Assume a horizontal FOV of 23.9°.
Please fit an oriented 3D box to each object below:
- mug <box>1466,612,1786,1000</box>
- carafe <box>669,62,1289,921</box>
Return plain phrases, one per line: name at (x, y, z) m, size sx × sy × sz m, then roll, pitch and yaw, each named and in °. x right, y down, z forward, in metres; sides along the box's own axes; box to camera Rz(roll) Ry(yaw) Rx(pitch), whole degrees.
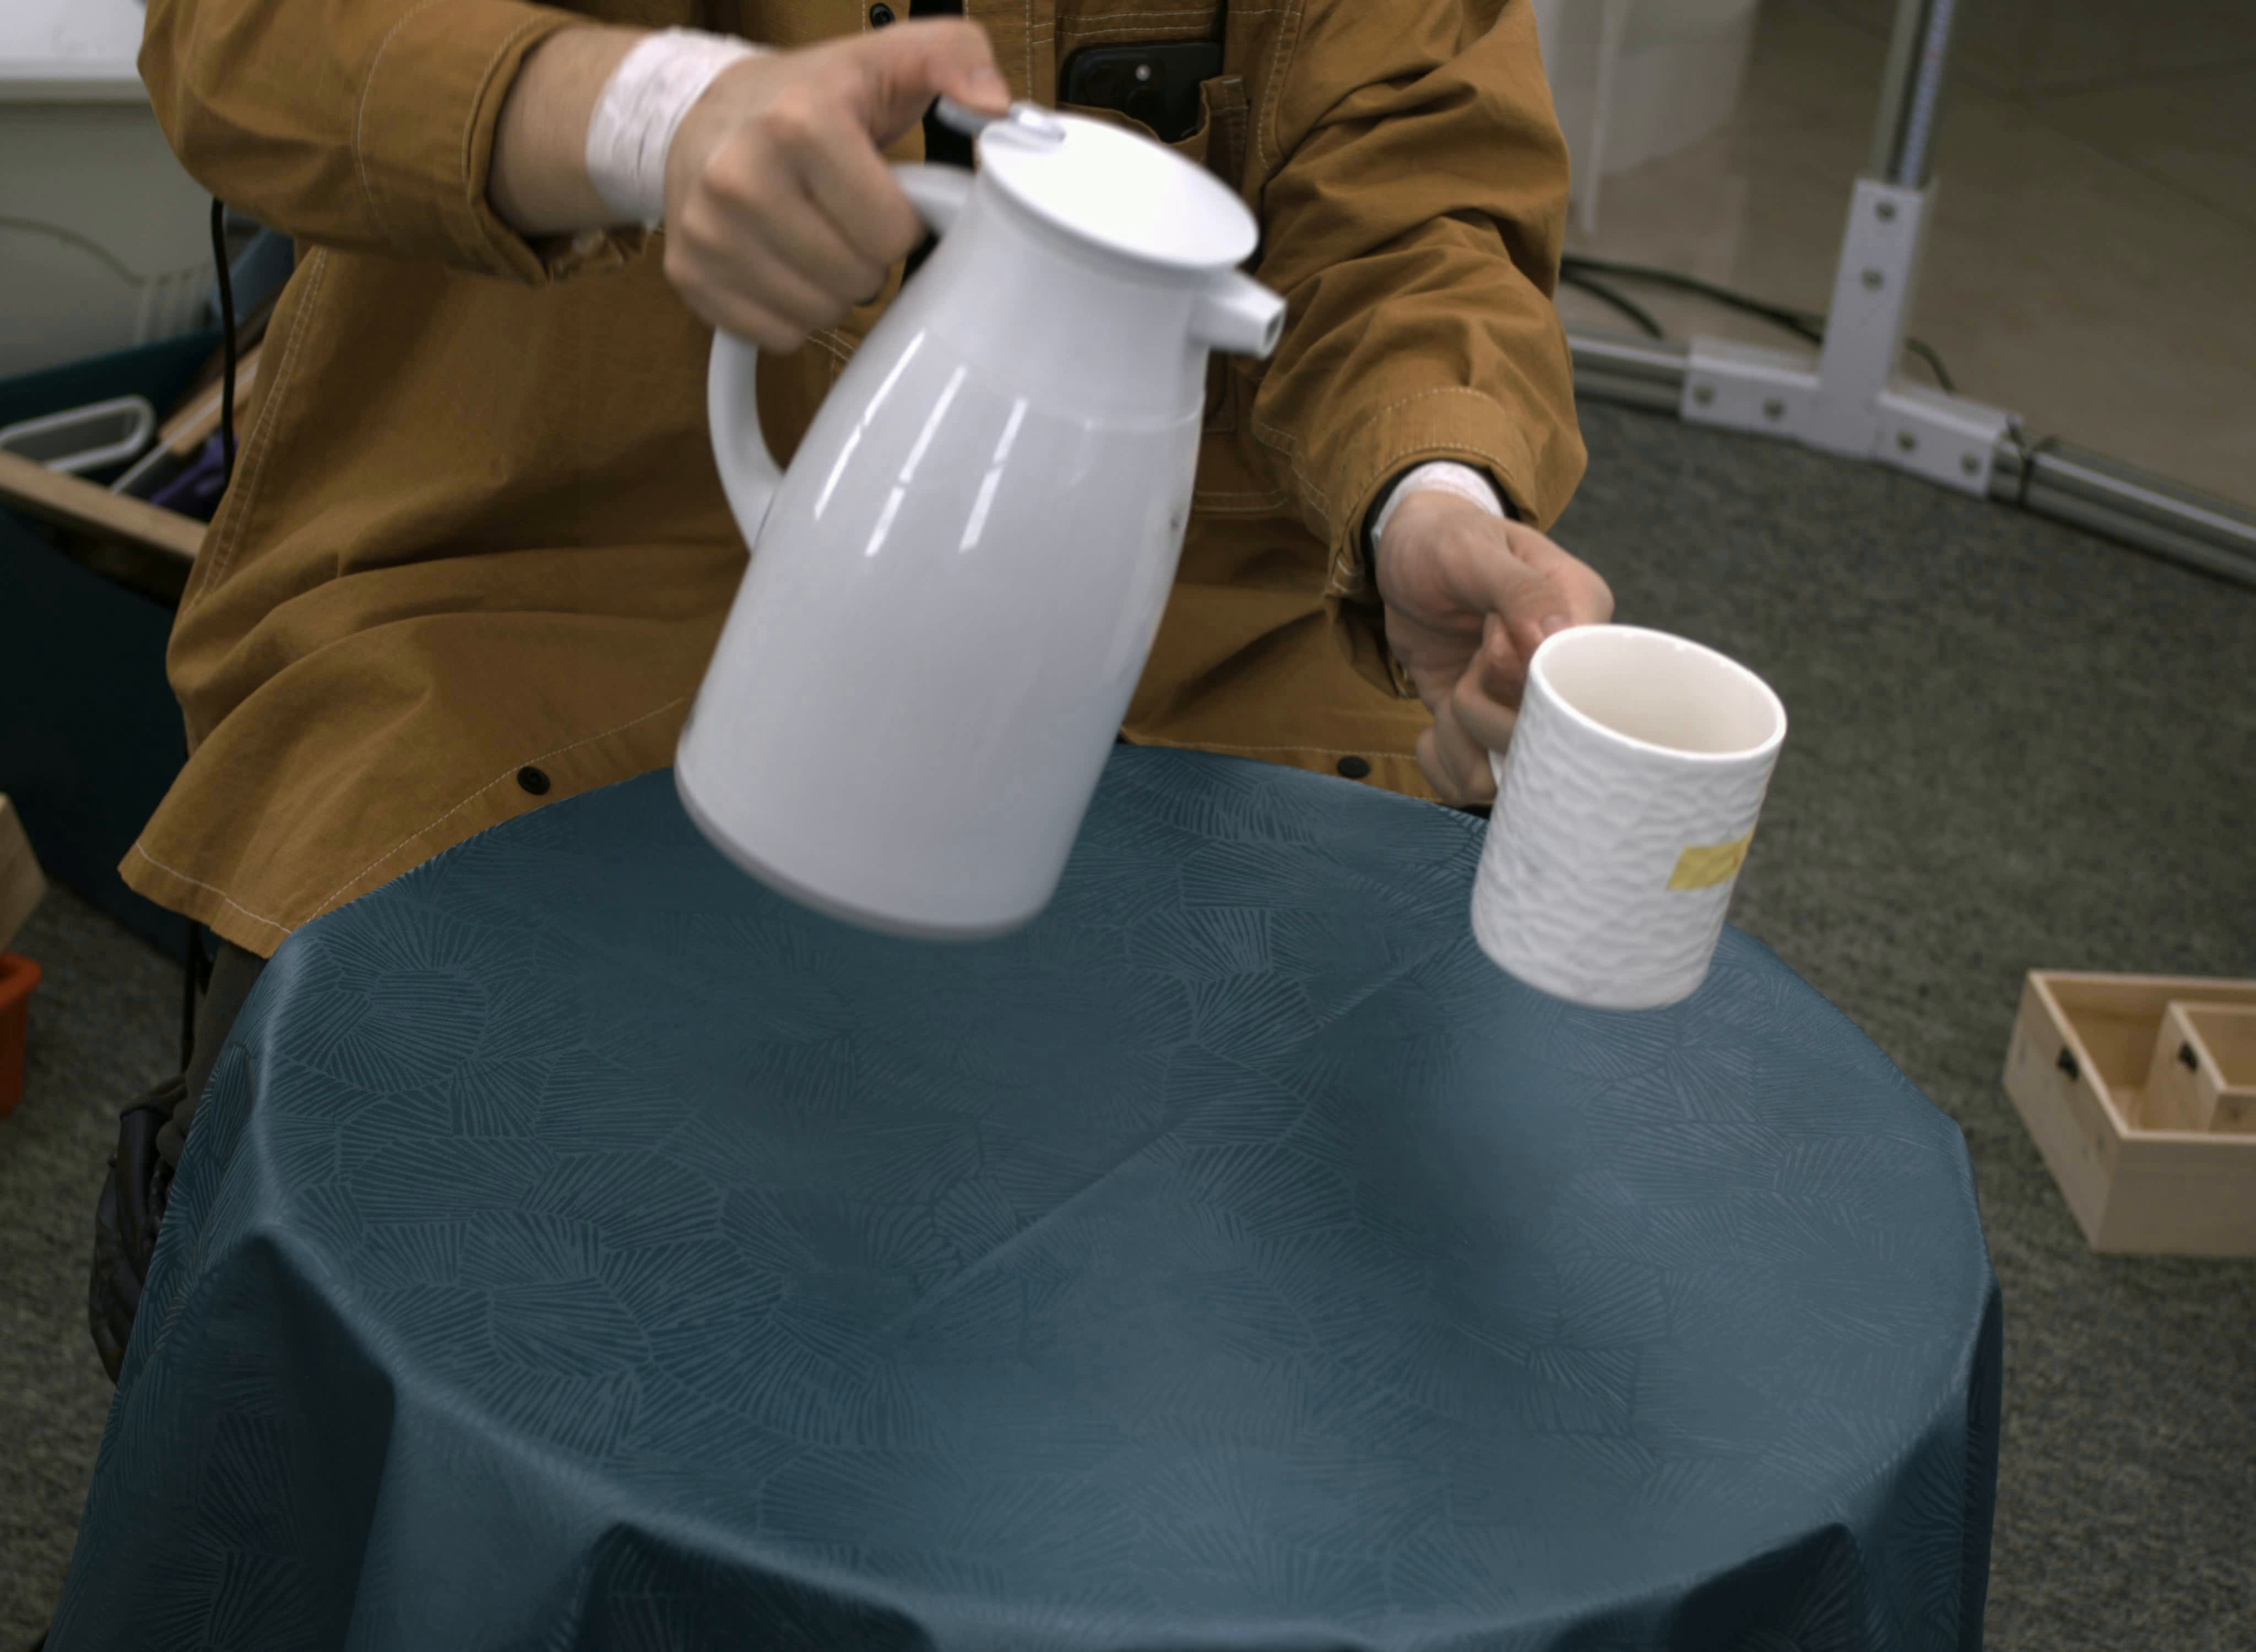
mug at (0.154, -0.014, 1.765) m, size 0.084 × 0.101 × 0.119 m, roll -5°, pitch 33°, yaw -32°
carafe at (-0.061, -0.116, 1.682) m, size 0.168 × 0.248 × 0.132 m, roll 27°, pitch 28°, yaw 7°
